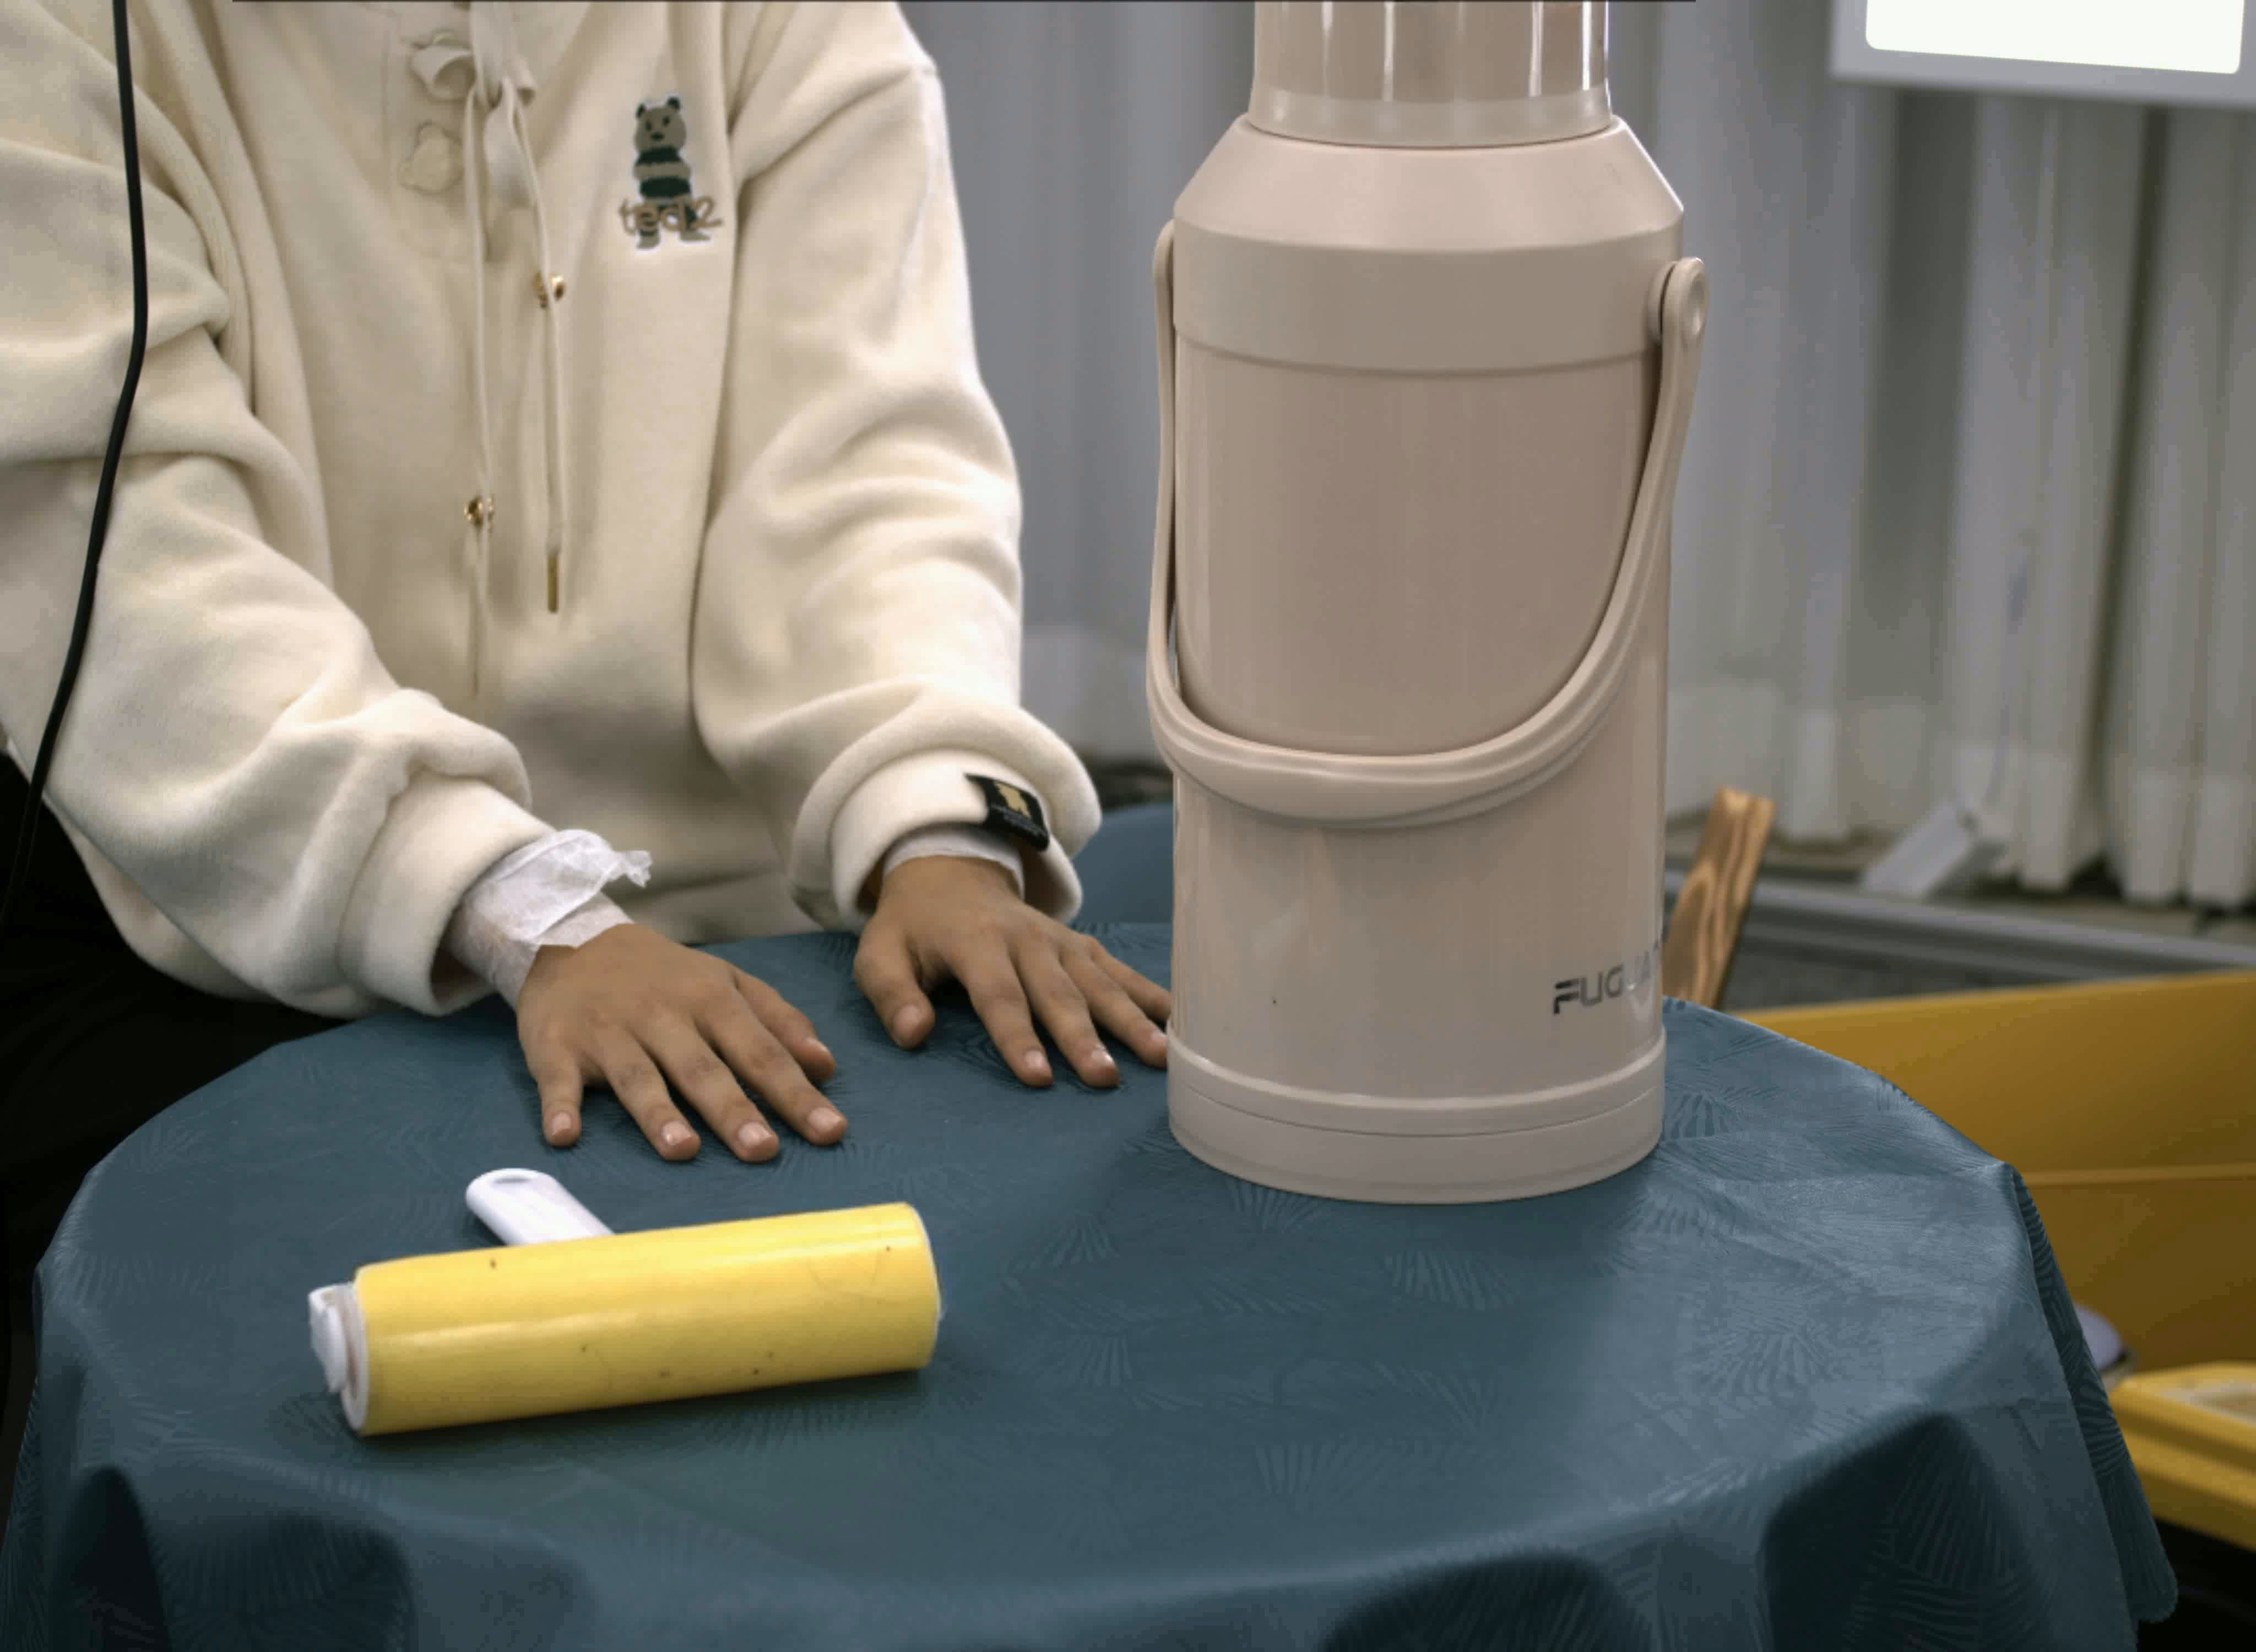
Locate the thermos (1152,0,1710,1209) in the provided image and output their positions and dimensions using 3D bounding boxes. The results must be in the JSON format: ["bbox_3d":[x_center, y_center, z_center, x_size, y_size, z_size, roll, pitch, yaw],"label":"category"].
[{"bbox_3d":[0.099,-0.098,1.639,0.173,0.409,0.207,7,17,24],"label":"thermos"}]

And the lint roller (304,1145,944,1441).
[{"bbox_3d":[-0.160,0.114,1.506,0.175,0.052,0.189,-5,22,-20],"label":"lint roller"}]
